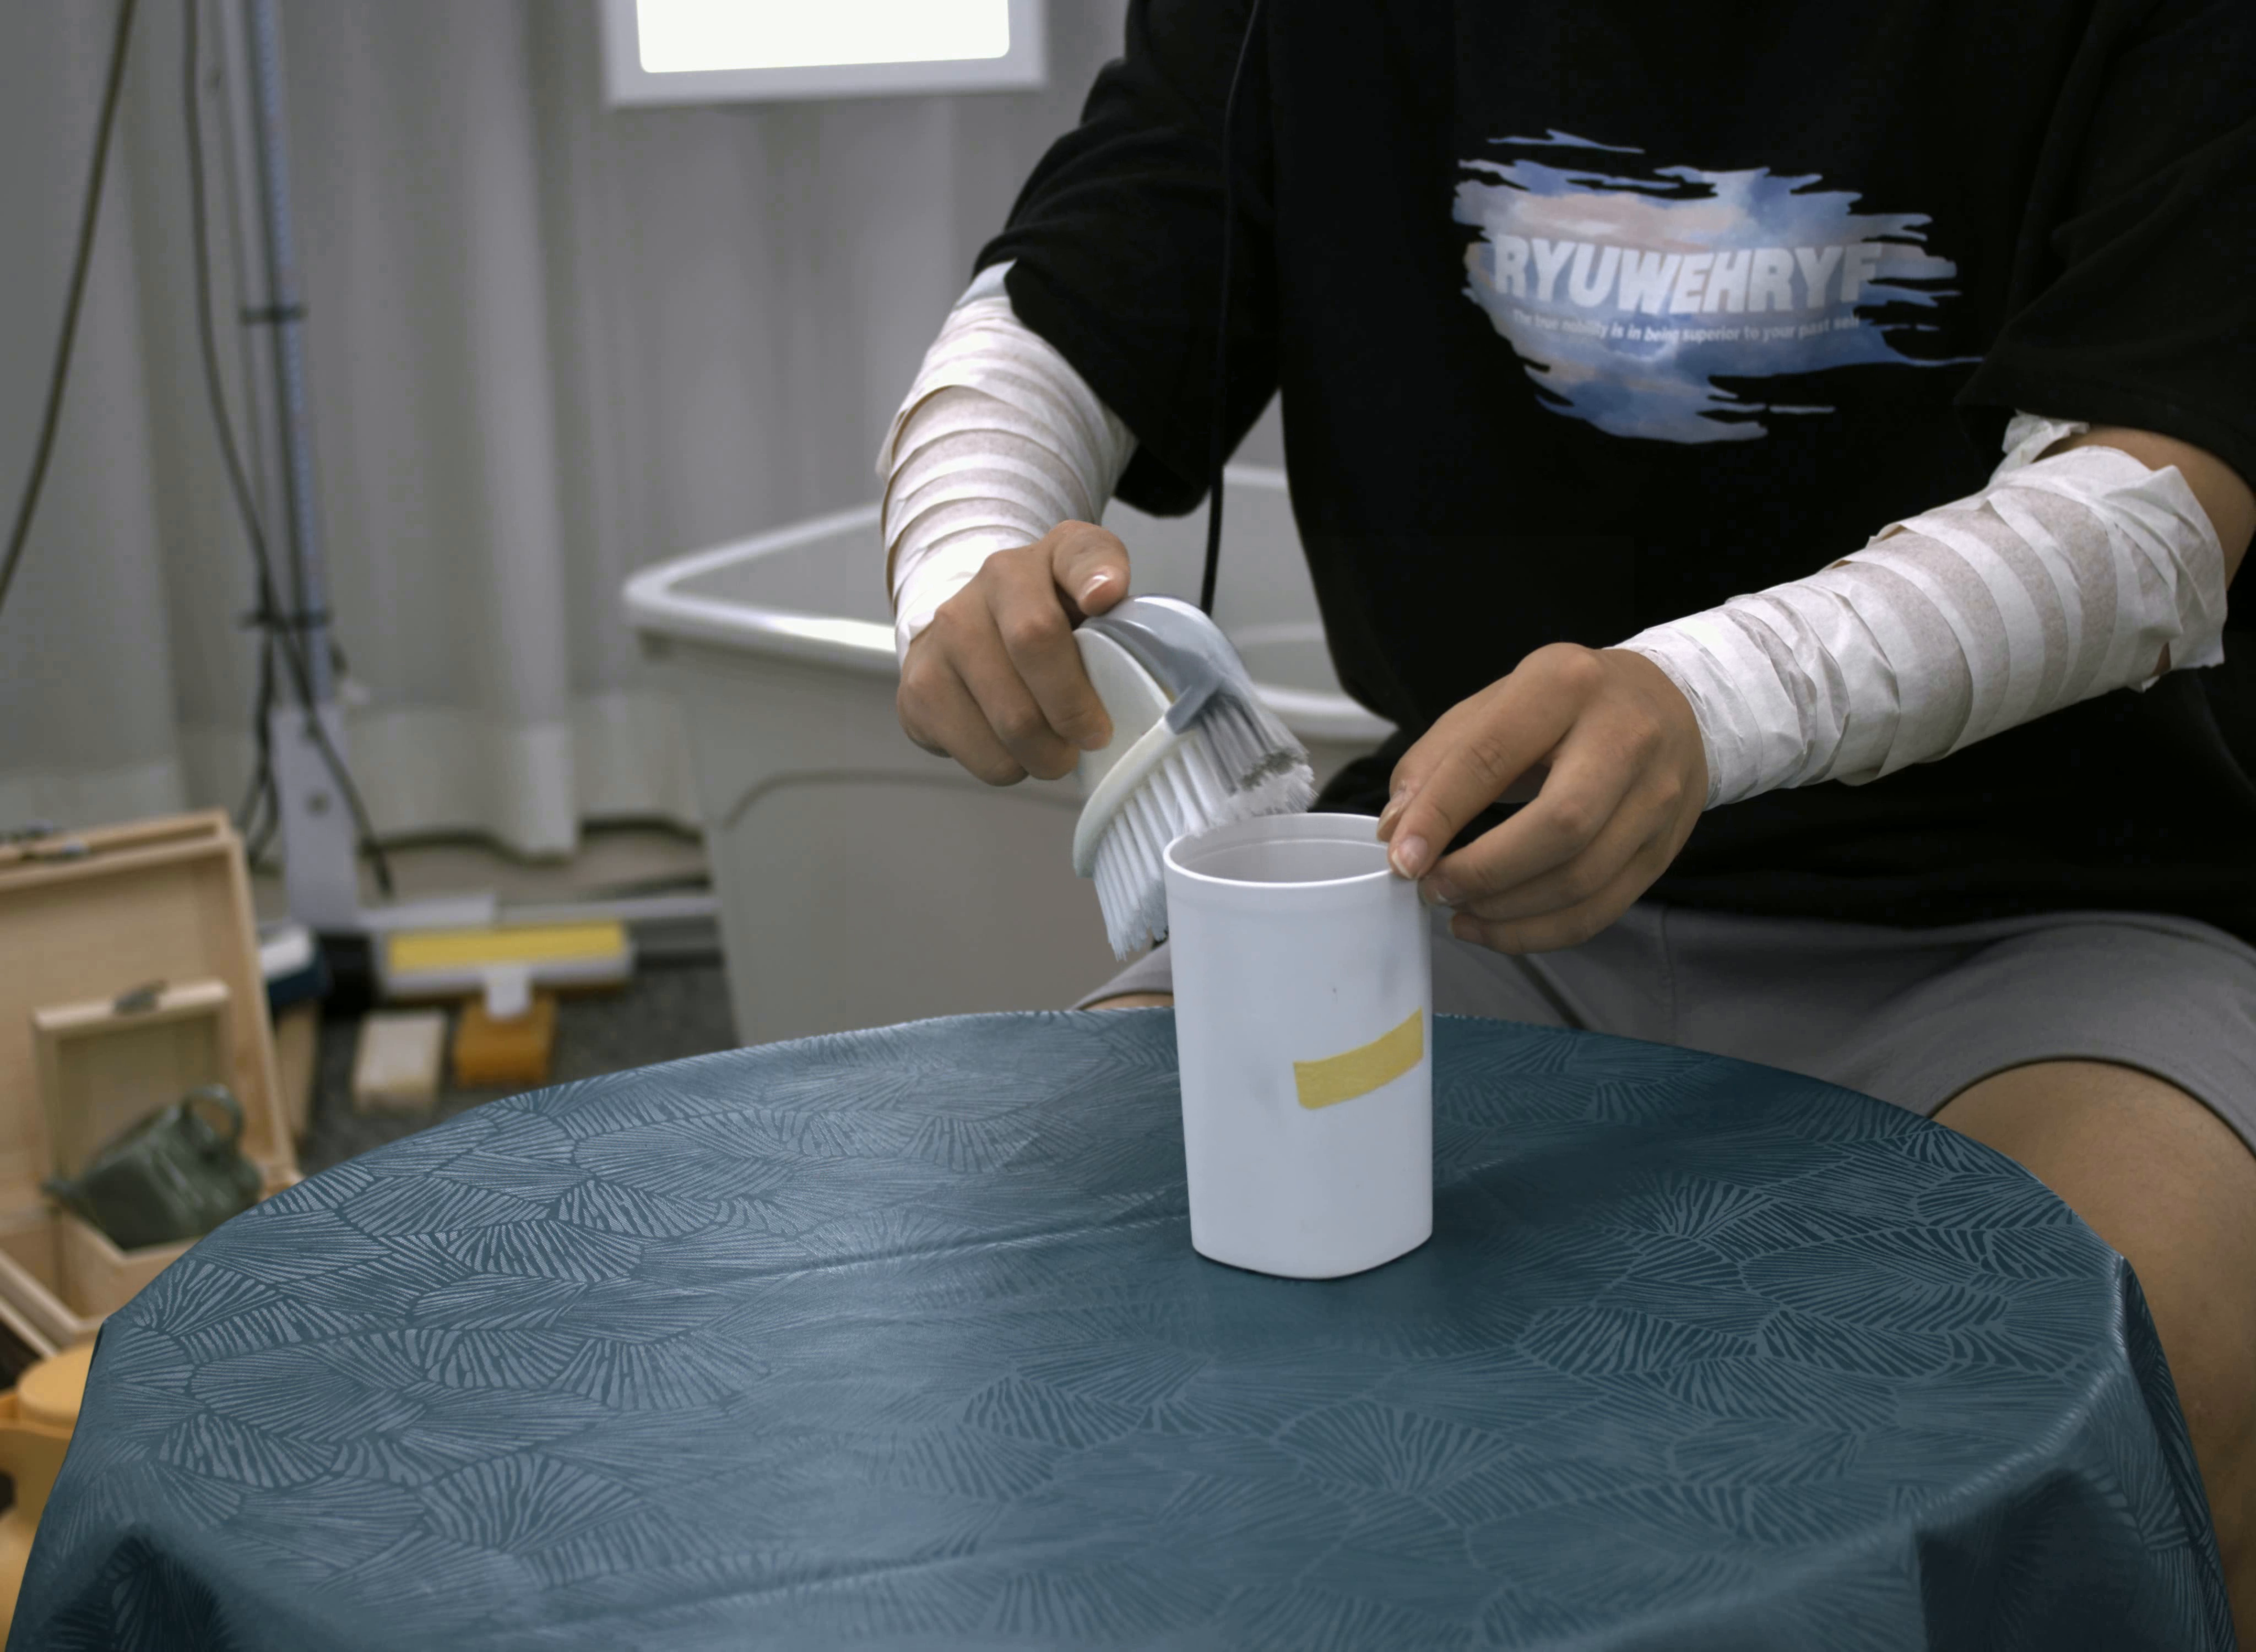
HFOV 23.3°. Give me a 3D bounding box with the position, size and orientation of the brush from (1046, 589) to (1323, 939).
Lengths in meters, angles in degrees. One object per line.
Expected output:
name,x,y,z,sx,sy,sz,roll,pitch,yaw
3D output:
brush,0.014,-0.032,1.700,0.061,0.095,0.174,-29,-9,-17

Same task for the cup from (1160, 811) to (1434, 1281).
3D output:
cup,0.054,0.066,1.643,0.081,0.125,0.082,-3,14,1
